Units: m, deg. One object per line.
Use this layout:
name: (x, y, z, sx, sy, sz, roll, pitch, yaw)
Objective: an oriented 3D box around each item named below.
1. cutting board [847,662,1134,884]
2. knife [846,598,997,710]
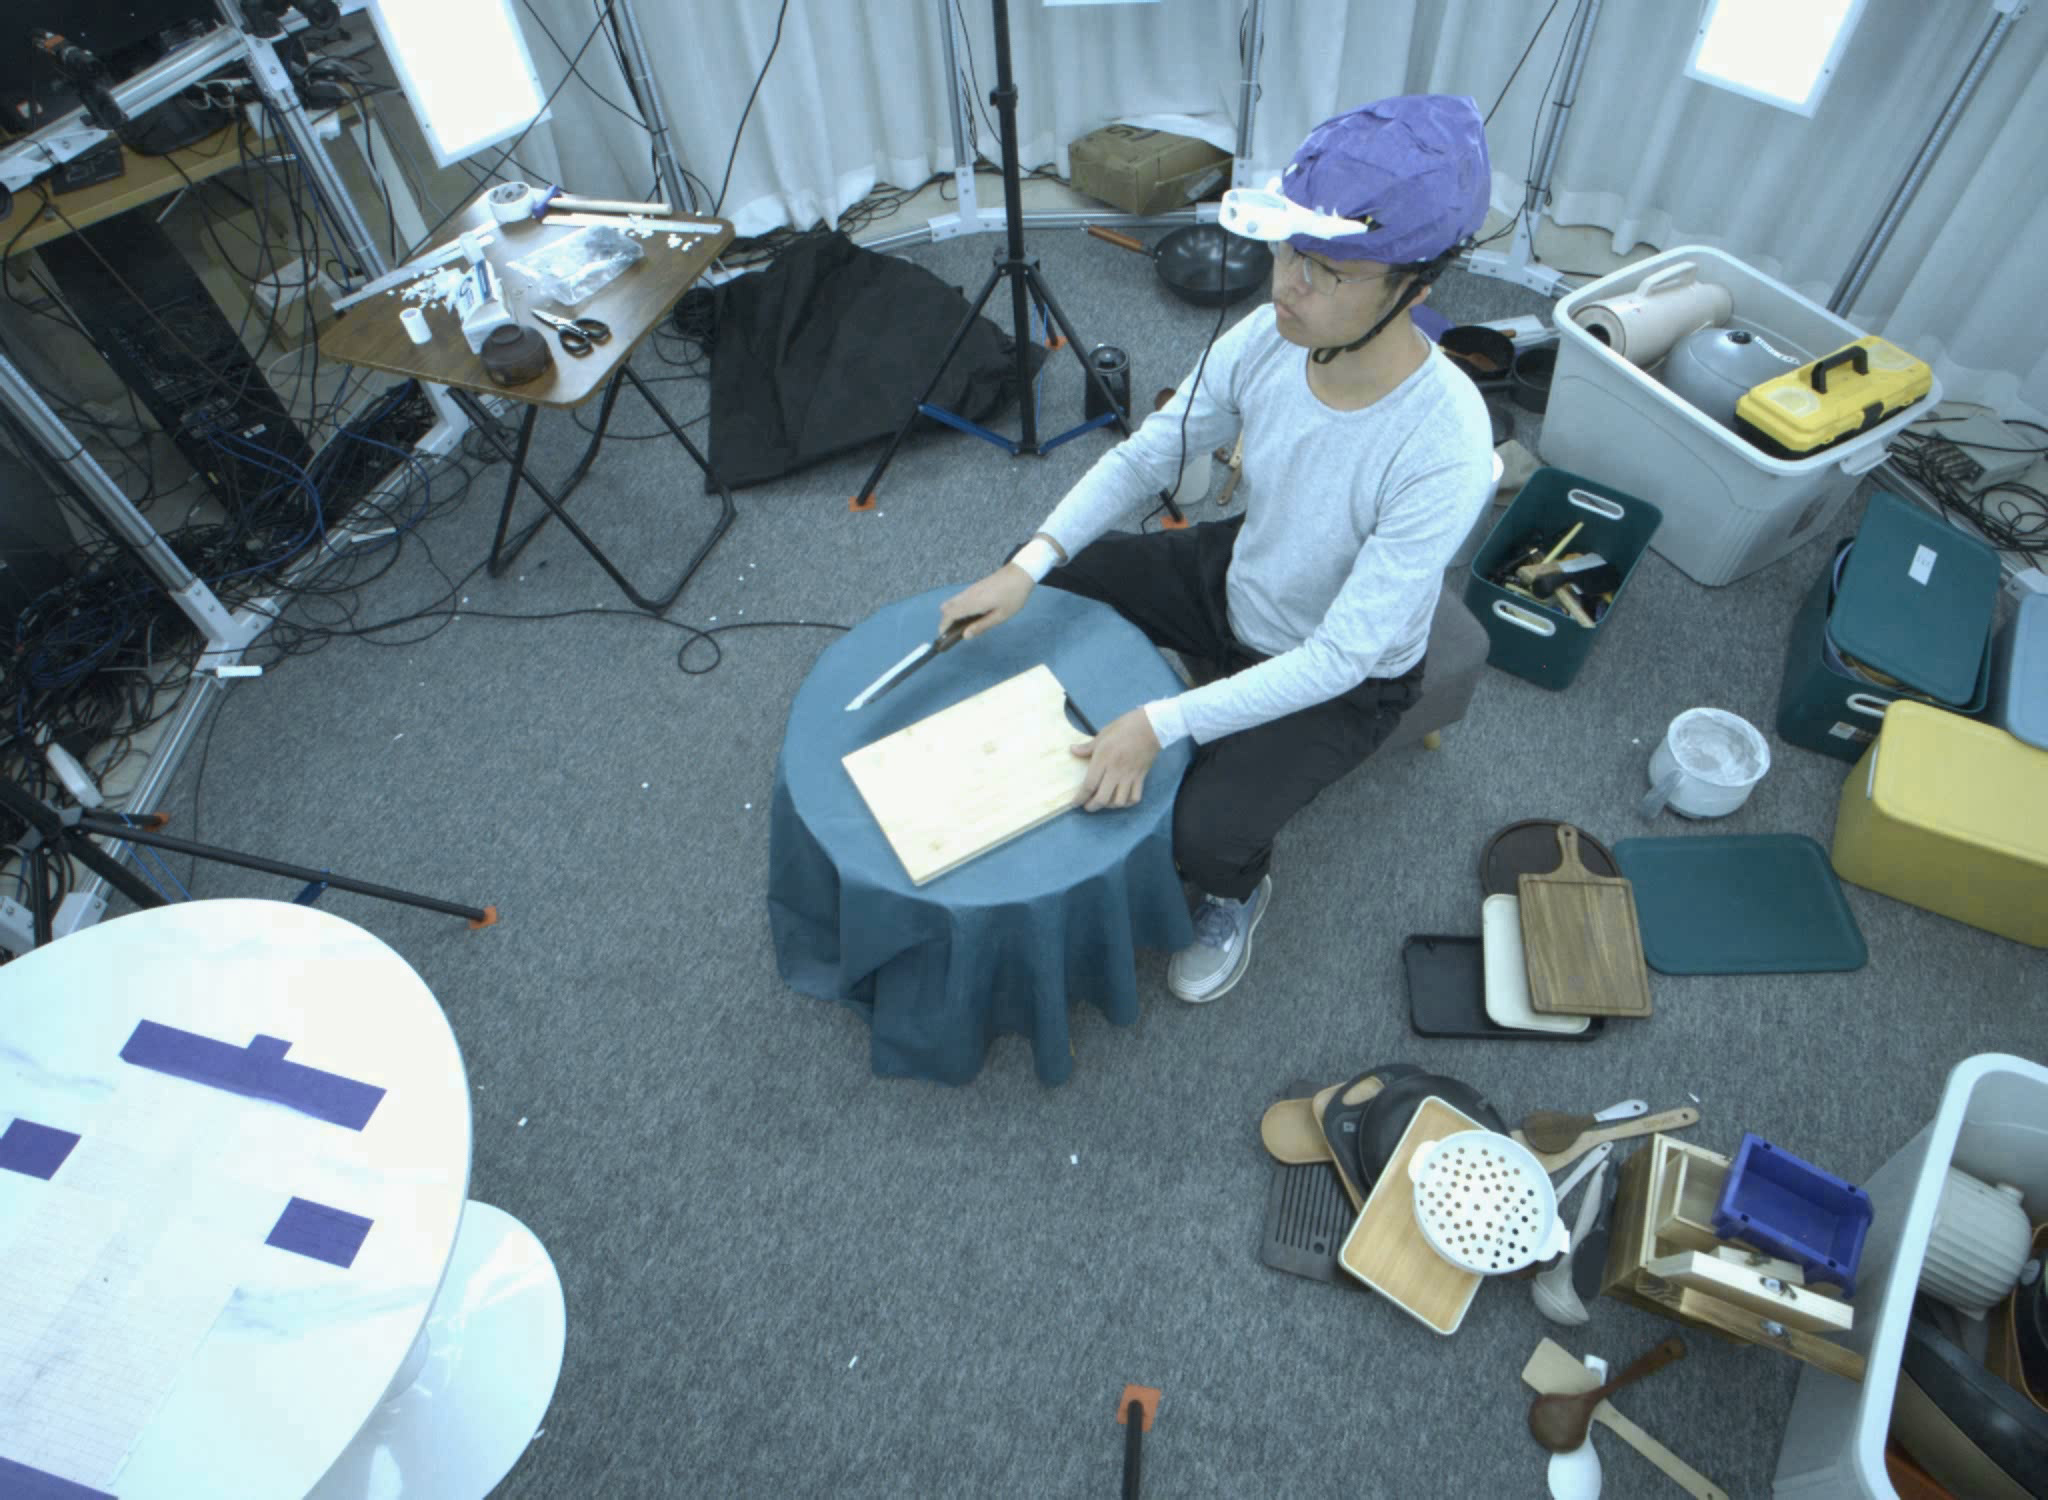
cutting board: (-0.053, 0.025, 1.769, 0.351, 0.024, 0.246, -26, 59, -17)
knife: (-0.151, -0.143, 1.826, 0.291, 0.020, 0.049, -39, 34, -22)
